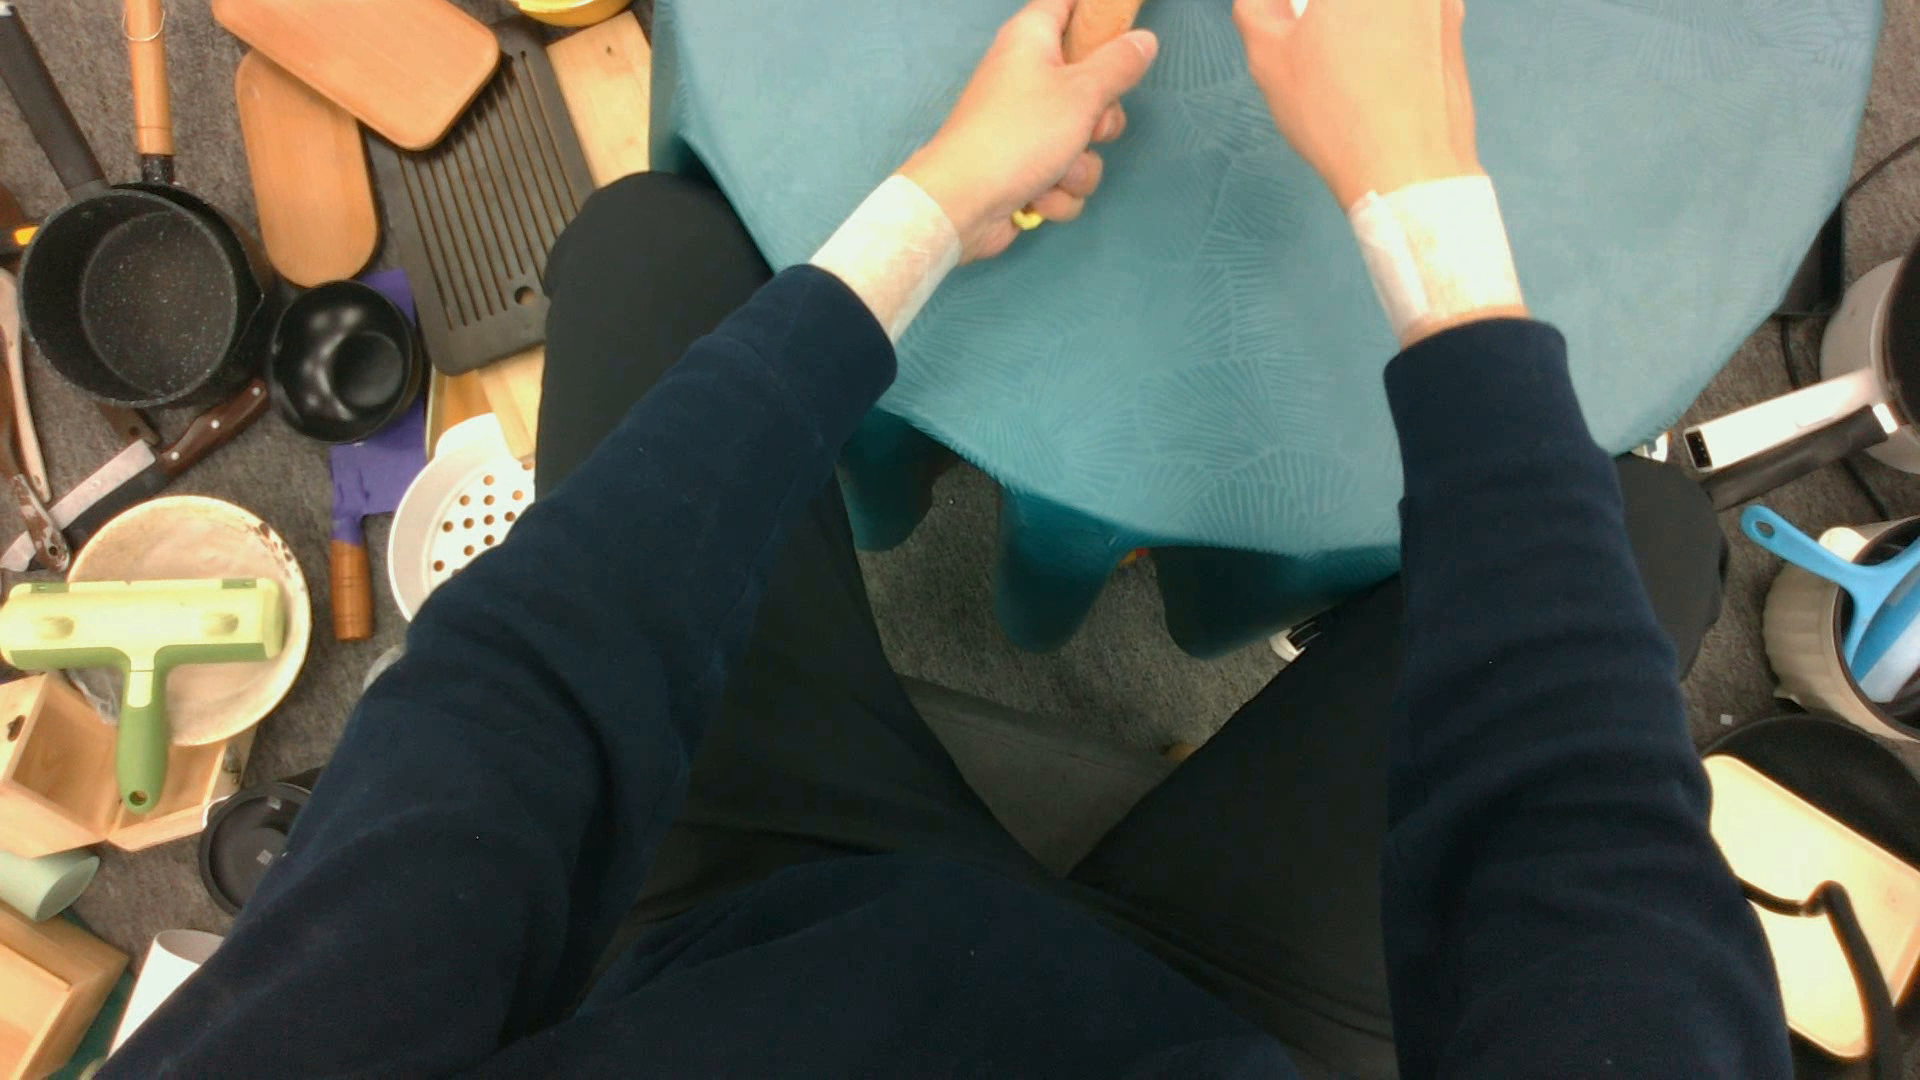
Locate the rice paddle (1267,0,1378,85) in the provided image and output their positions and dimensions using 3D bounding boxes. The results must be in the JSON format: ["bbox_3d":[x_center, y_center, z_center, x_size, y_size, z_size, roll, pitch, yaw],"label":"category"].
[{"bbox_3d":[0.125,-0.278,0.607,0.069,0.029,0.206,-16,59,-6],"label":"rice paddle"}]

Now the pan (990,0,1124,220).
[{"bbox_3d":[0.076,-0.291,0.636,0.169,0.049,0.324,24,82,-7],"label":"pan"}]
